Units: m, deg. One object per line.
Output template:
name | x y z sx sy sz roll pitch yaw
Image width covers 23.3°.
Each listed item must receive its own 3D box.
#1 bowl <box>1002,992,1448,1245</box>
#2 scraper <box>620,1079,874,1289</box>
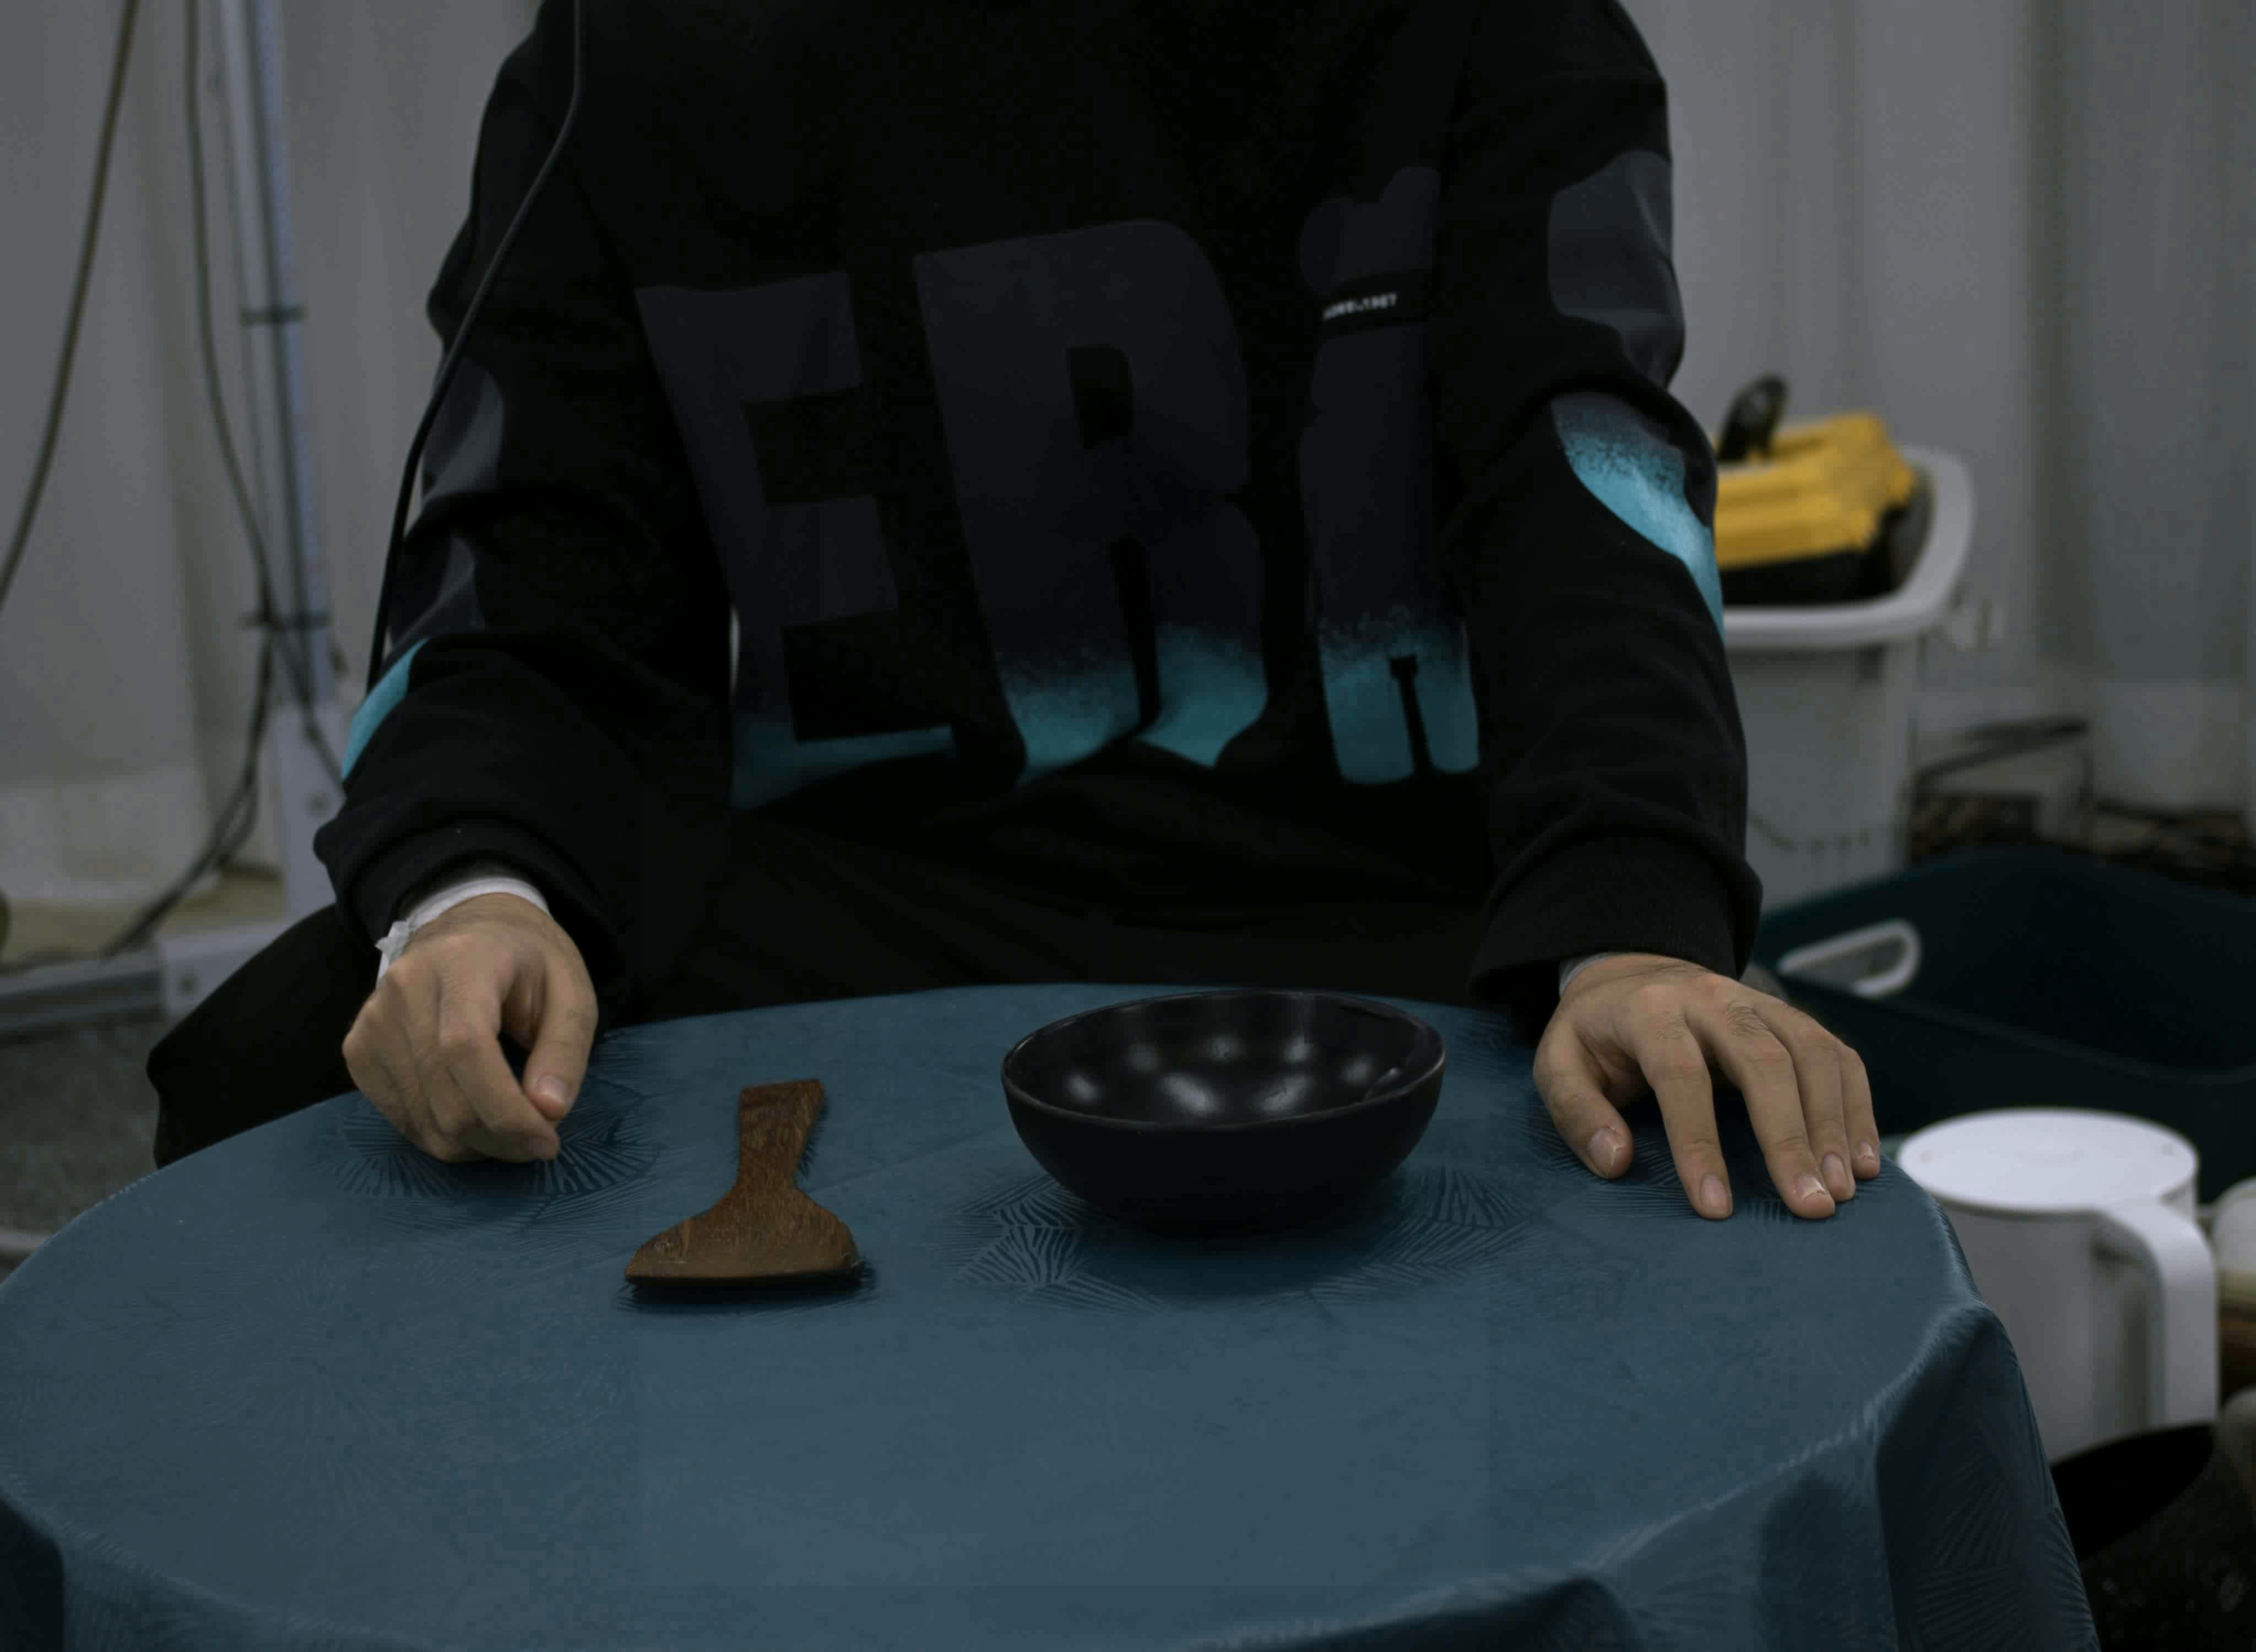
bowl | 0.032 0.095 1.692 0.139 0.049 0.141 -5 14 1
scraper | -0.115 0.113 1.729 0.075 0.011 0.212 -2 14 1
